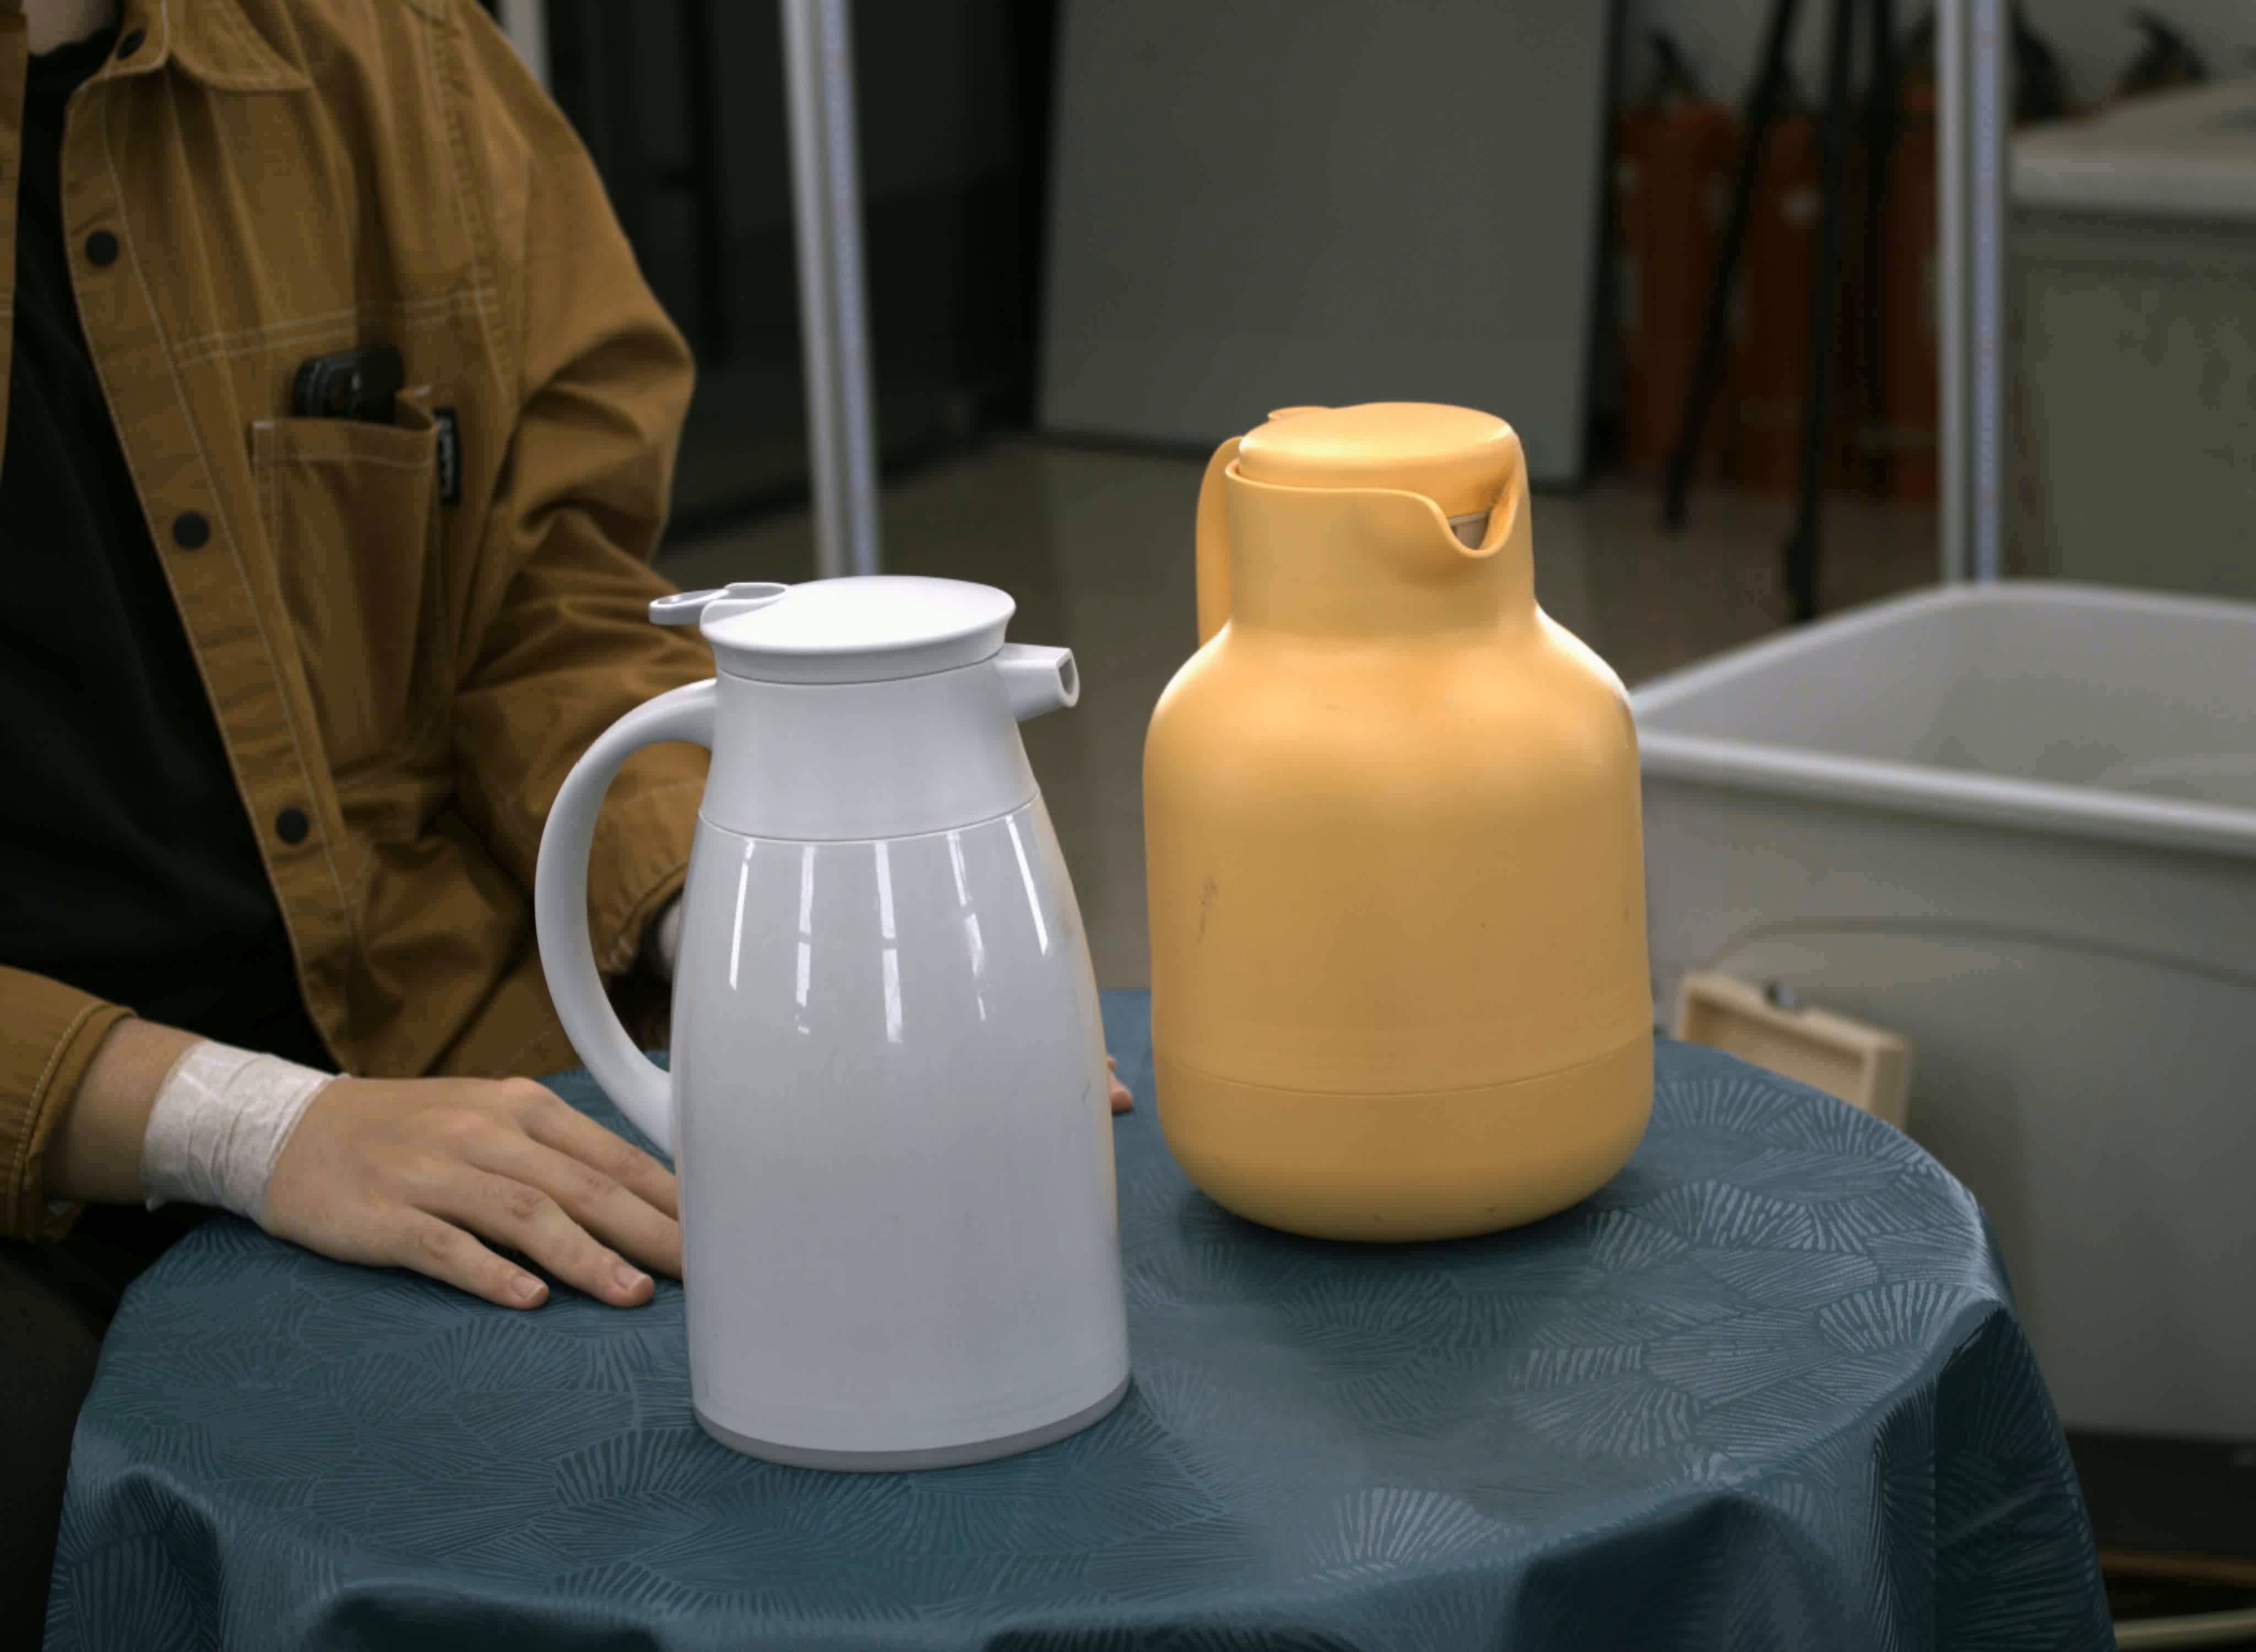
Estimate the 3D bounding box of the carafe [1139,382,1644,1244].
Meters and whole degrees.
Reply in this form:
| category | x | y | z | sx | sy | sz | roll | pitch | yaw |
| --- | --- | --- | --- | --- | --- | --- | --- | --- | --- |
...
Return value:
| category | x | y | z | sx | sy | sz | roll | pitch | yaw |
| --- | --- | --- | --- | --- | --- | --- | --- | --- | --- |
| carafe | 0.077 | -0.012 | 1.741 | 0.160 | 0.263 | 0.204 | -7 | 15 | -20 |

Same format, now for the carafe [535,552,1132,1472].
| category | x | y | z | sx | sy | sz | roll | pitch | yaw |
| --- | --- | --- | --- | --- | --- | --- | --- | --- | --- |
| carafe | -0.090 | 0.048 | 1.574 | 0.167 | 0.251 | 0.131 | -1 | 14 | 15 |
